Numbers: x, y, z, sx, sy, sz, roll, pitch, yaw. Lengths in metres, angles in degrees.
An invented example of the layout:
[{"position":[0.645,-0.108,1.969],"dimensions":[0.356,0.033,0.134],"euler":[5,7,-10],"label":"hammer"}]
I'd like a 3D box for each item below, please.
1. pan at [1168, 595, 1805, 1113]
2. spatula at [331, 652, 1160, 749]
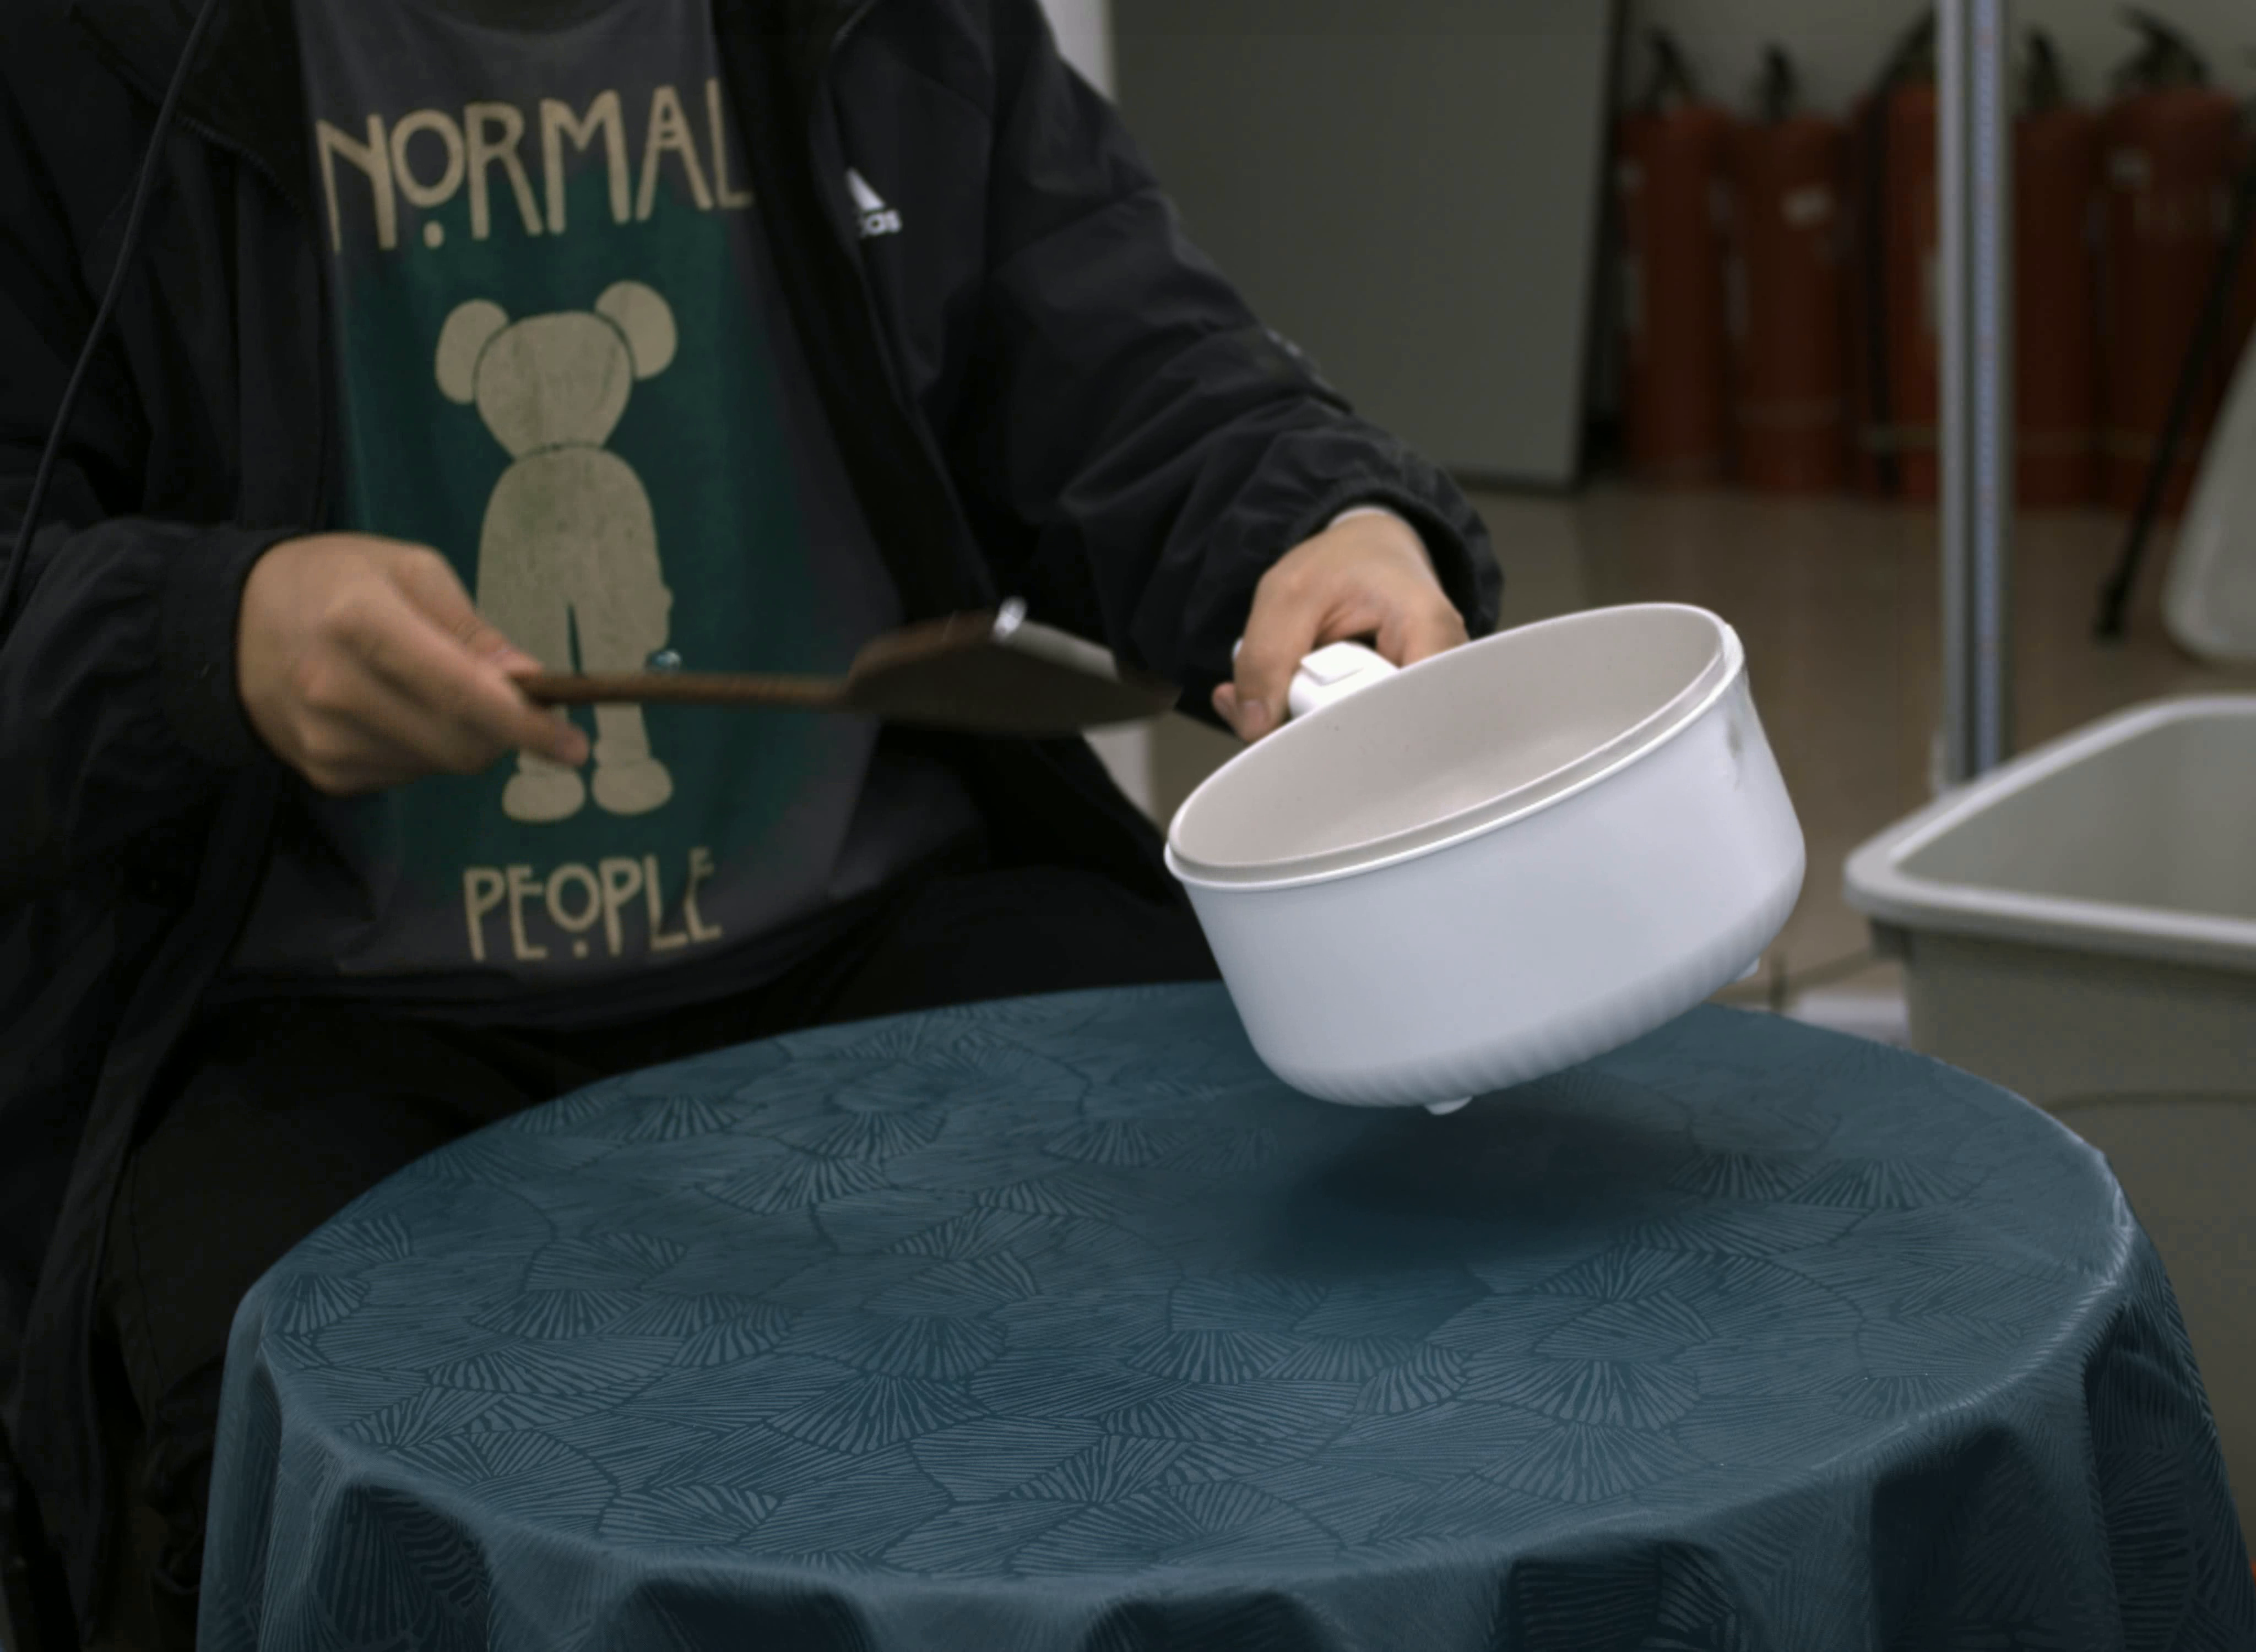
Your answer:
[{"position":[0.107,0.001,1.826],"dimensions":[0.199,0.102,0.357],"euler":[-25,13,-6],"label":"pan"},{"position":[-0.146,-0.038,1.792],"dimensions":[0.094,0.016,0.389],"euler":[16,-10,-43],"label":"spatula"}]
